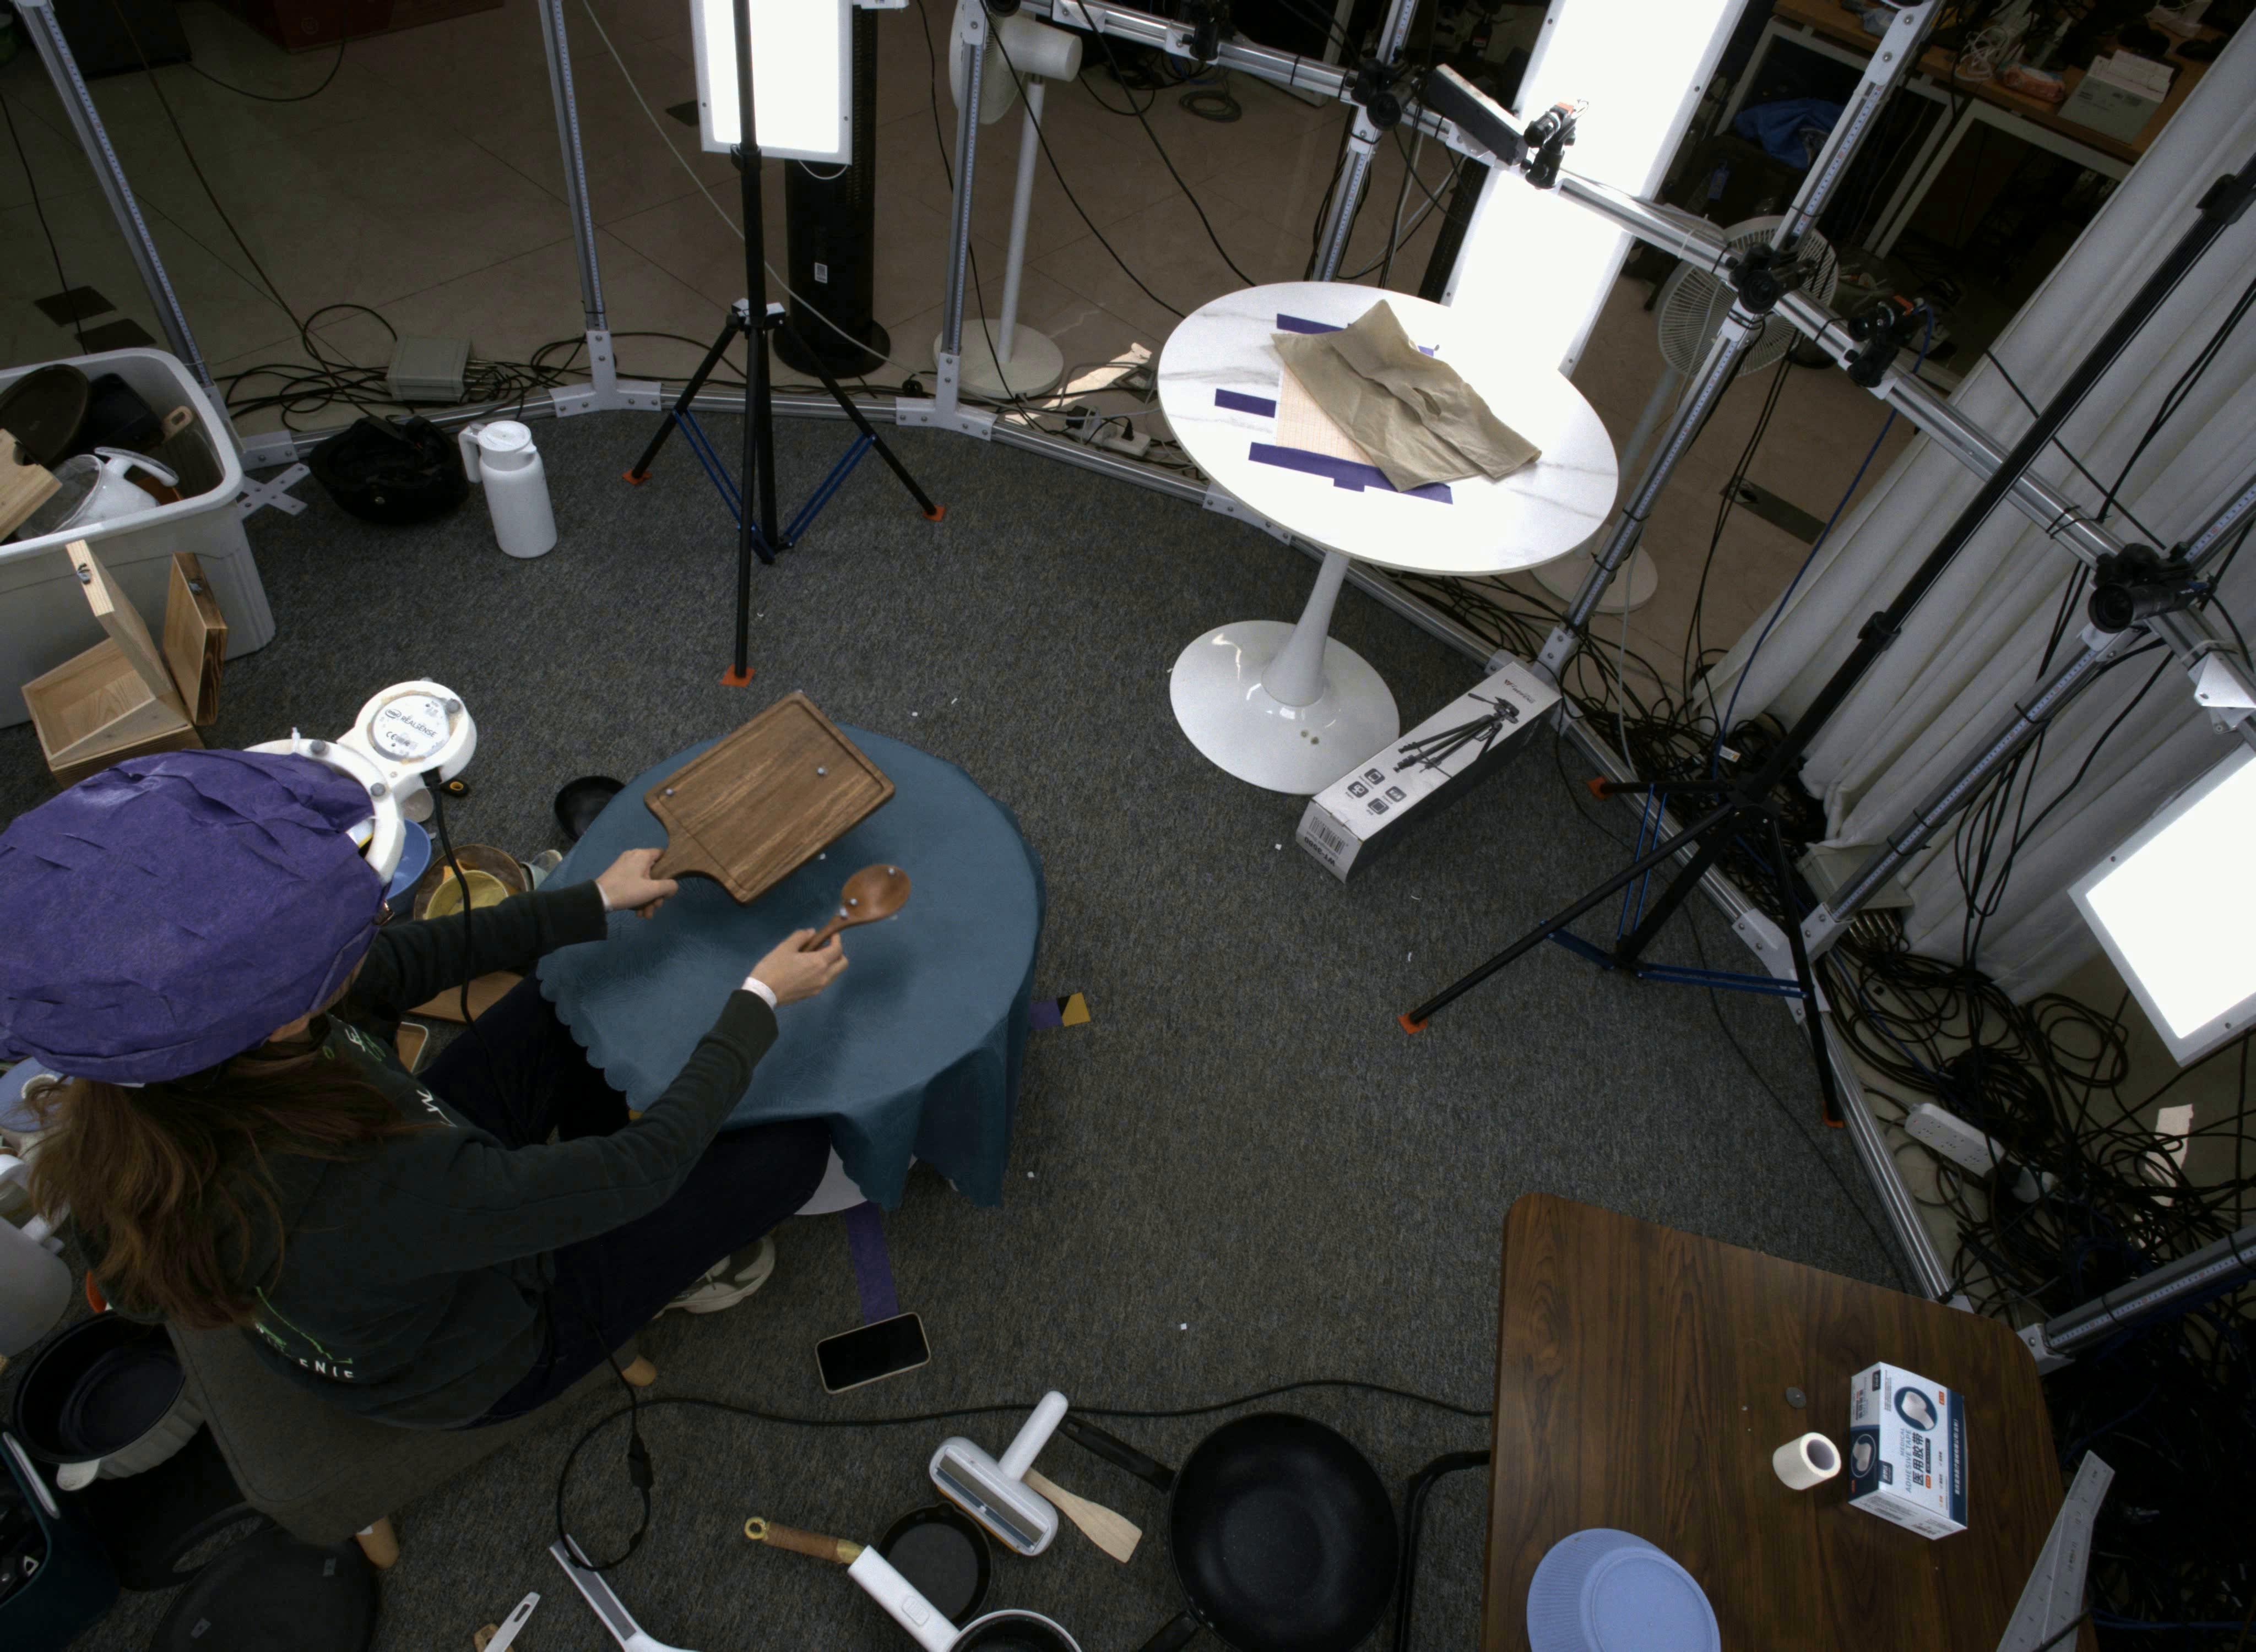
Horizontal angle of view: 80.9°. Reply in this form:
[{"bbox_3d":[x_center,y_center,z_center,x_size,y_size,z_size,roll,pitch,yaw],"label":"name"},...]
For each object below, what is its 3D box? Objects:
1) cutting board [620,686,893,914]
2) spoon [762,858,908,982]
[{"bbox_3d":[-0.483,-0.012,1.598,0.199,0.023,0.352,45,62,6],"label":"cutting board"},{"bbox_3d":[-0.346,0.110,1.531,0.074,0.017,0.216,37,54,15],"label":"spoon"}]
